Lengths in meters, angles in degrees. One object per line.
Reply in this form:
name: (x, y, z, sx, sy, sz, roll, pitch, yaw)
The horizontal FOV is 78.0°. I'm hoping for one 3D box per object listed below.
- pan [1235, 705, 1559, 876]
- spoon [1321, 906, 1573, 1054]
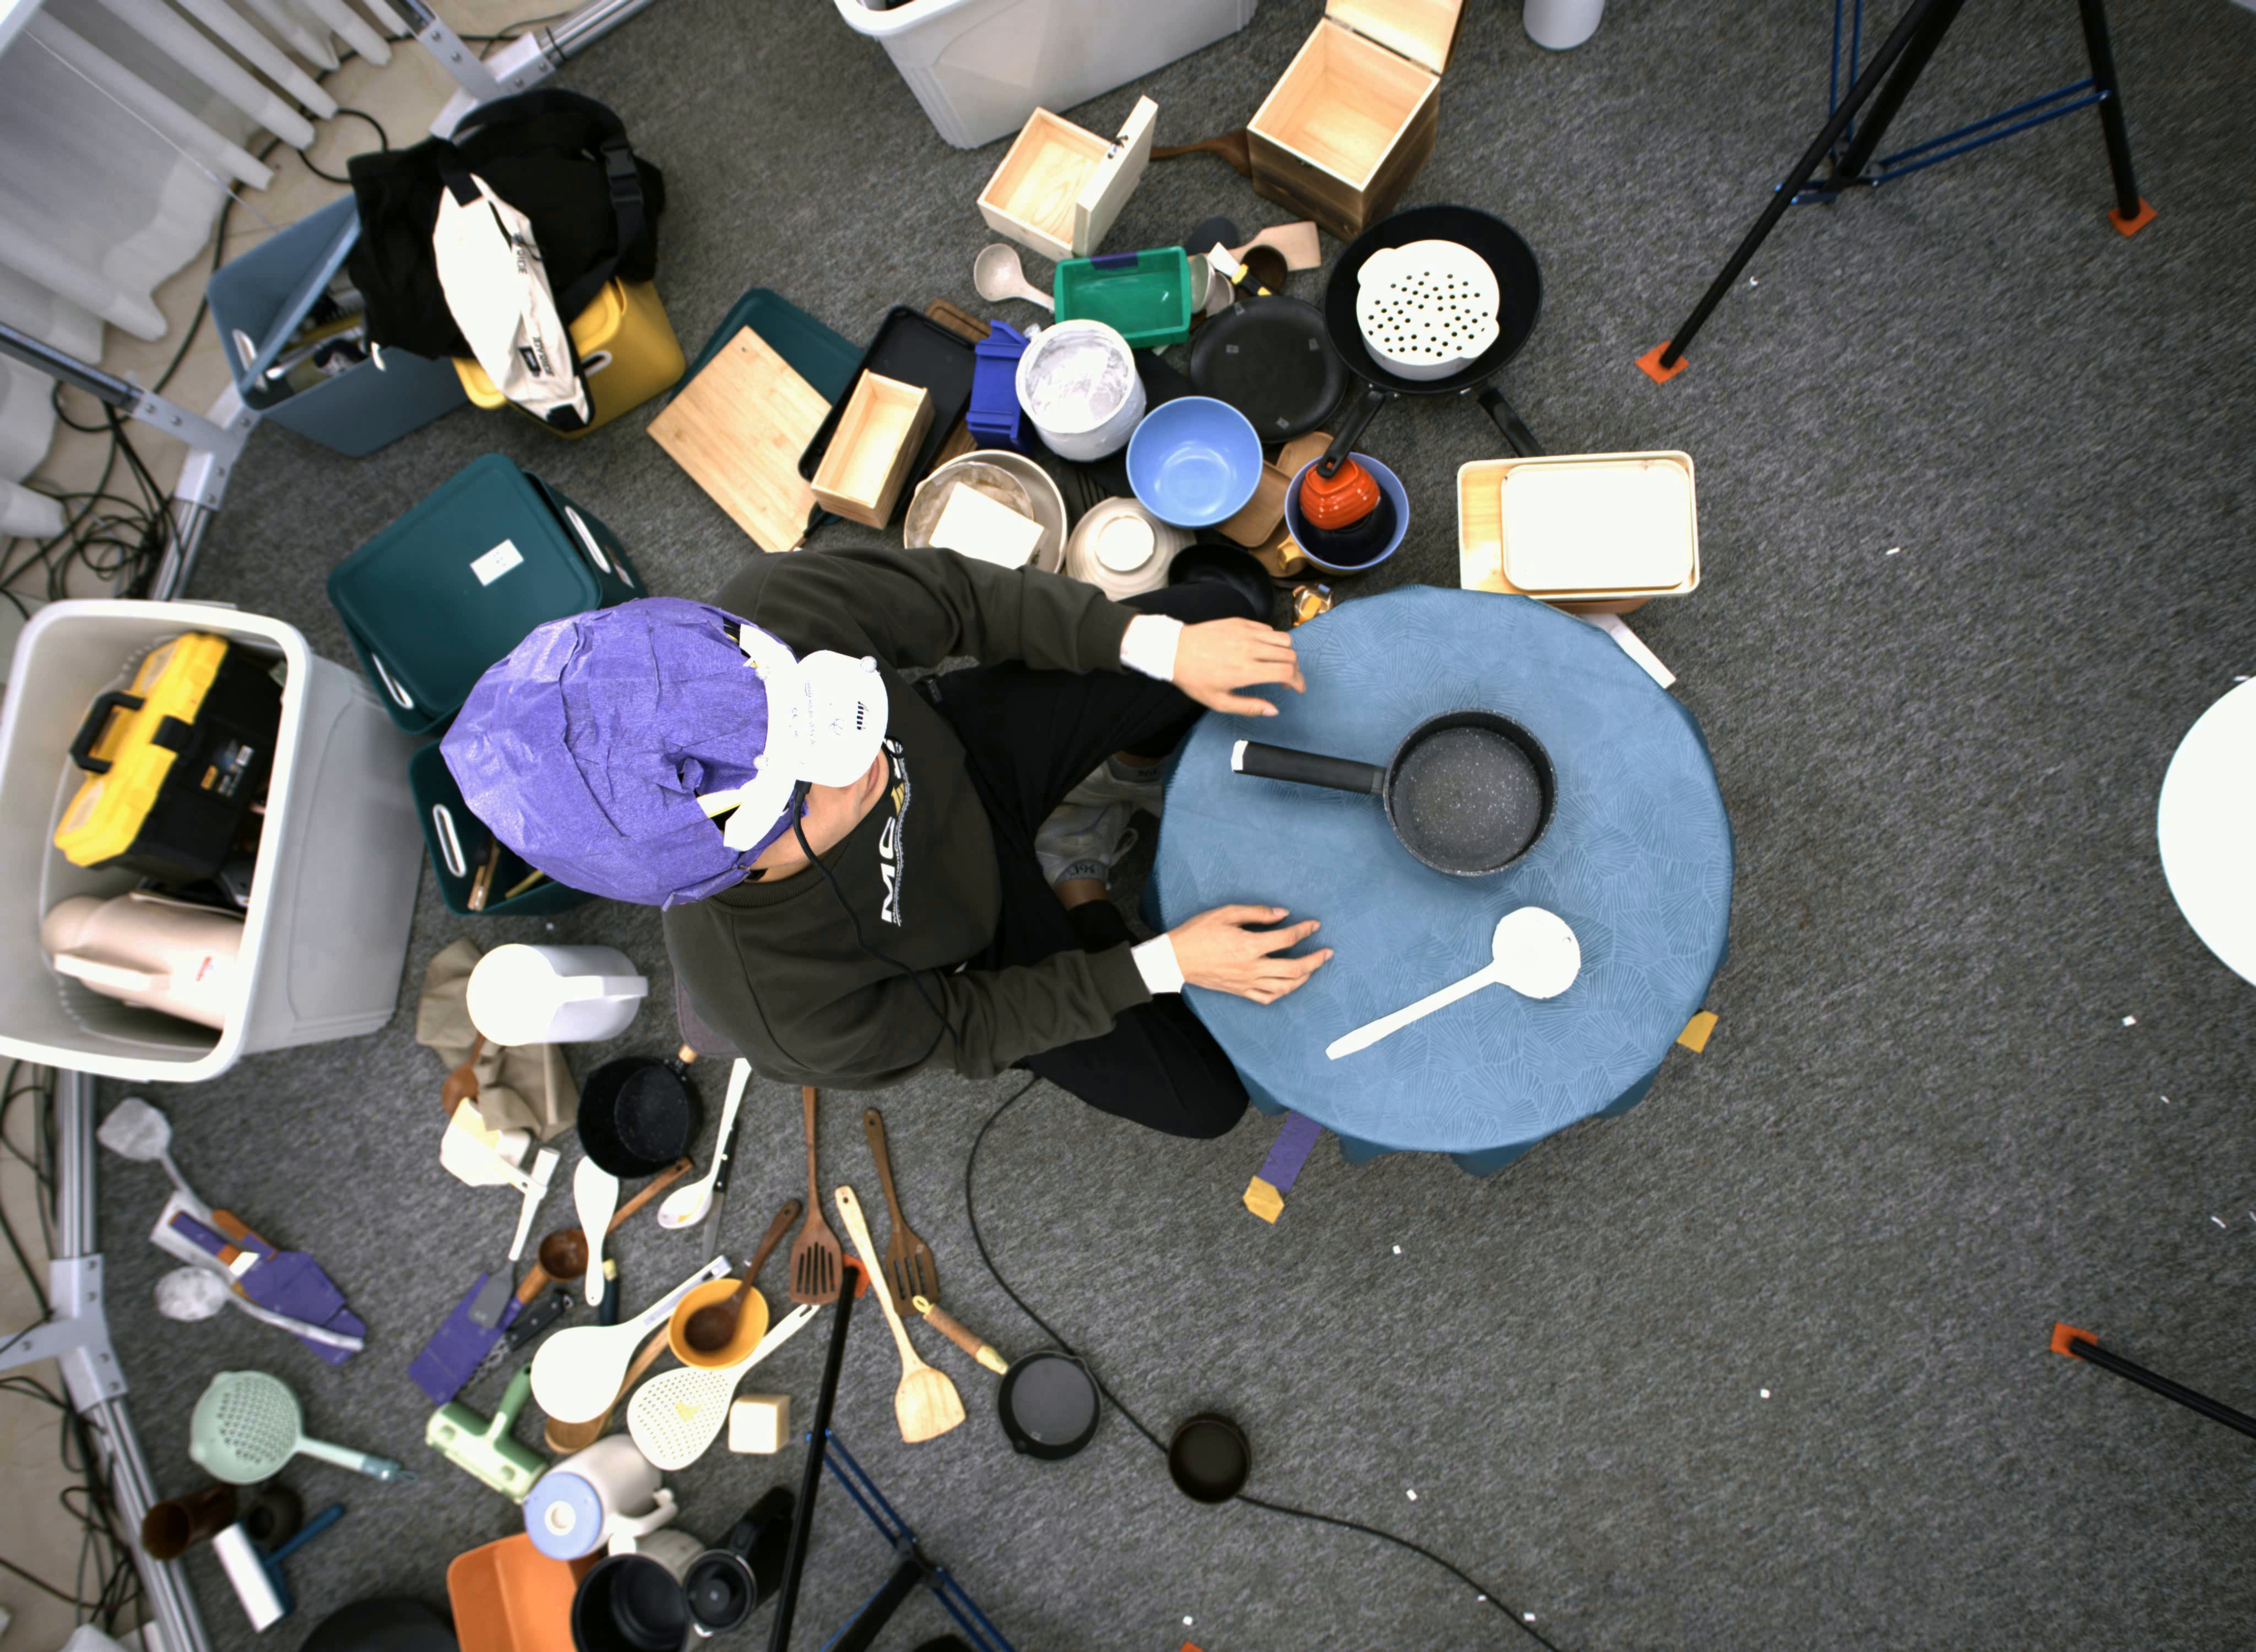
pan: (0.274, -0.049, 1.424, 0.329, 0.086, 0.171, 12, 88, 10)
spoon: (0.322, 0.165, 1.423, 0.279, 0.060, 0.099, -25, 71, 9)
